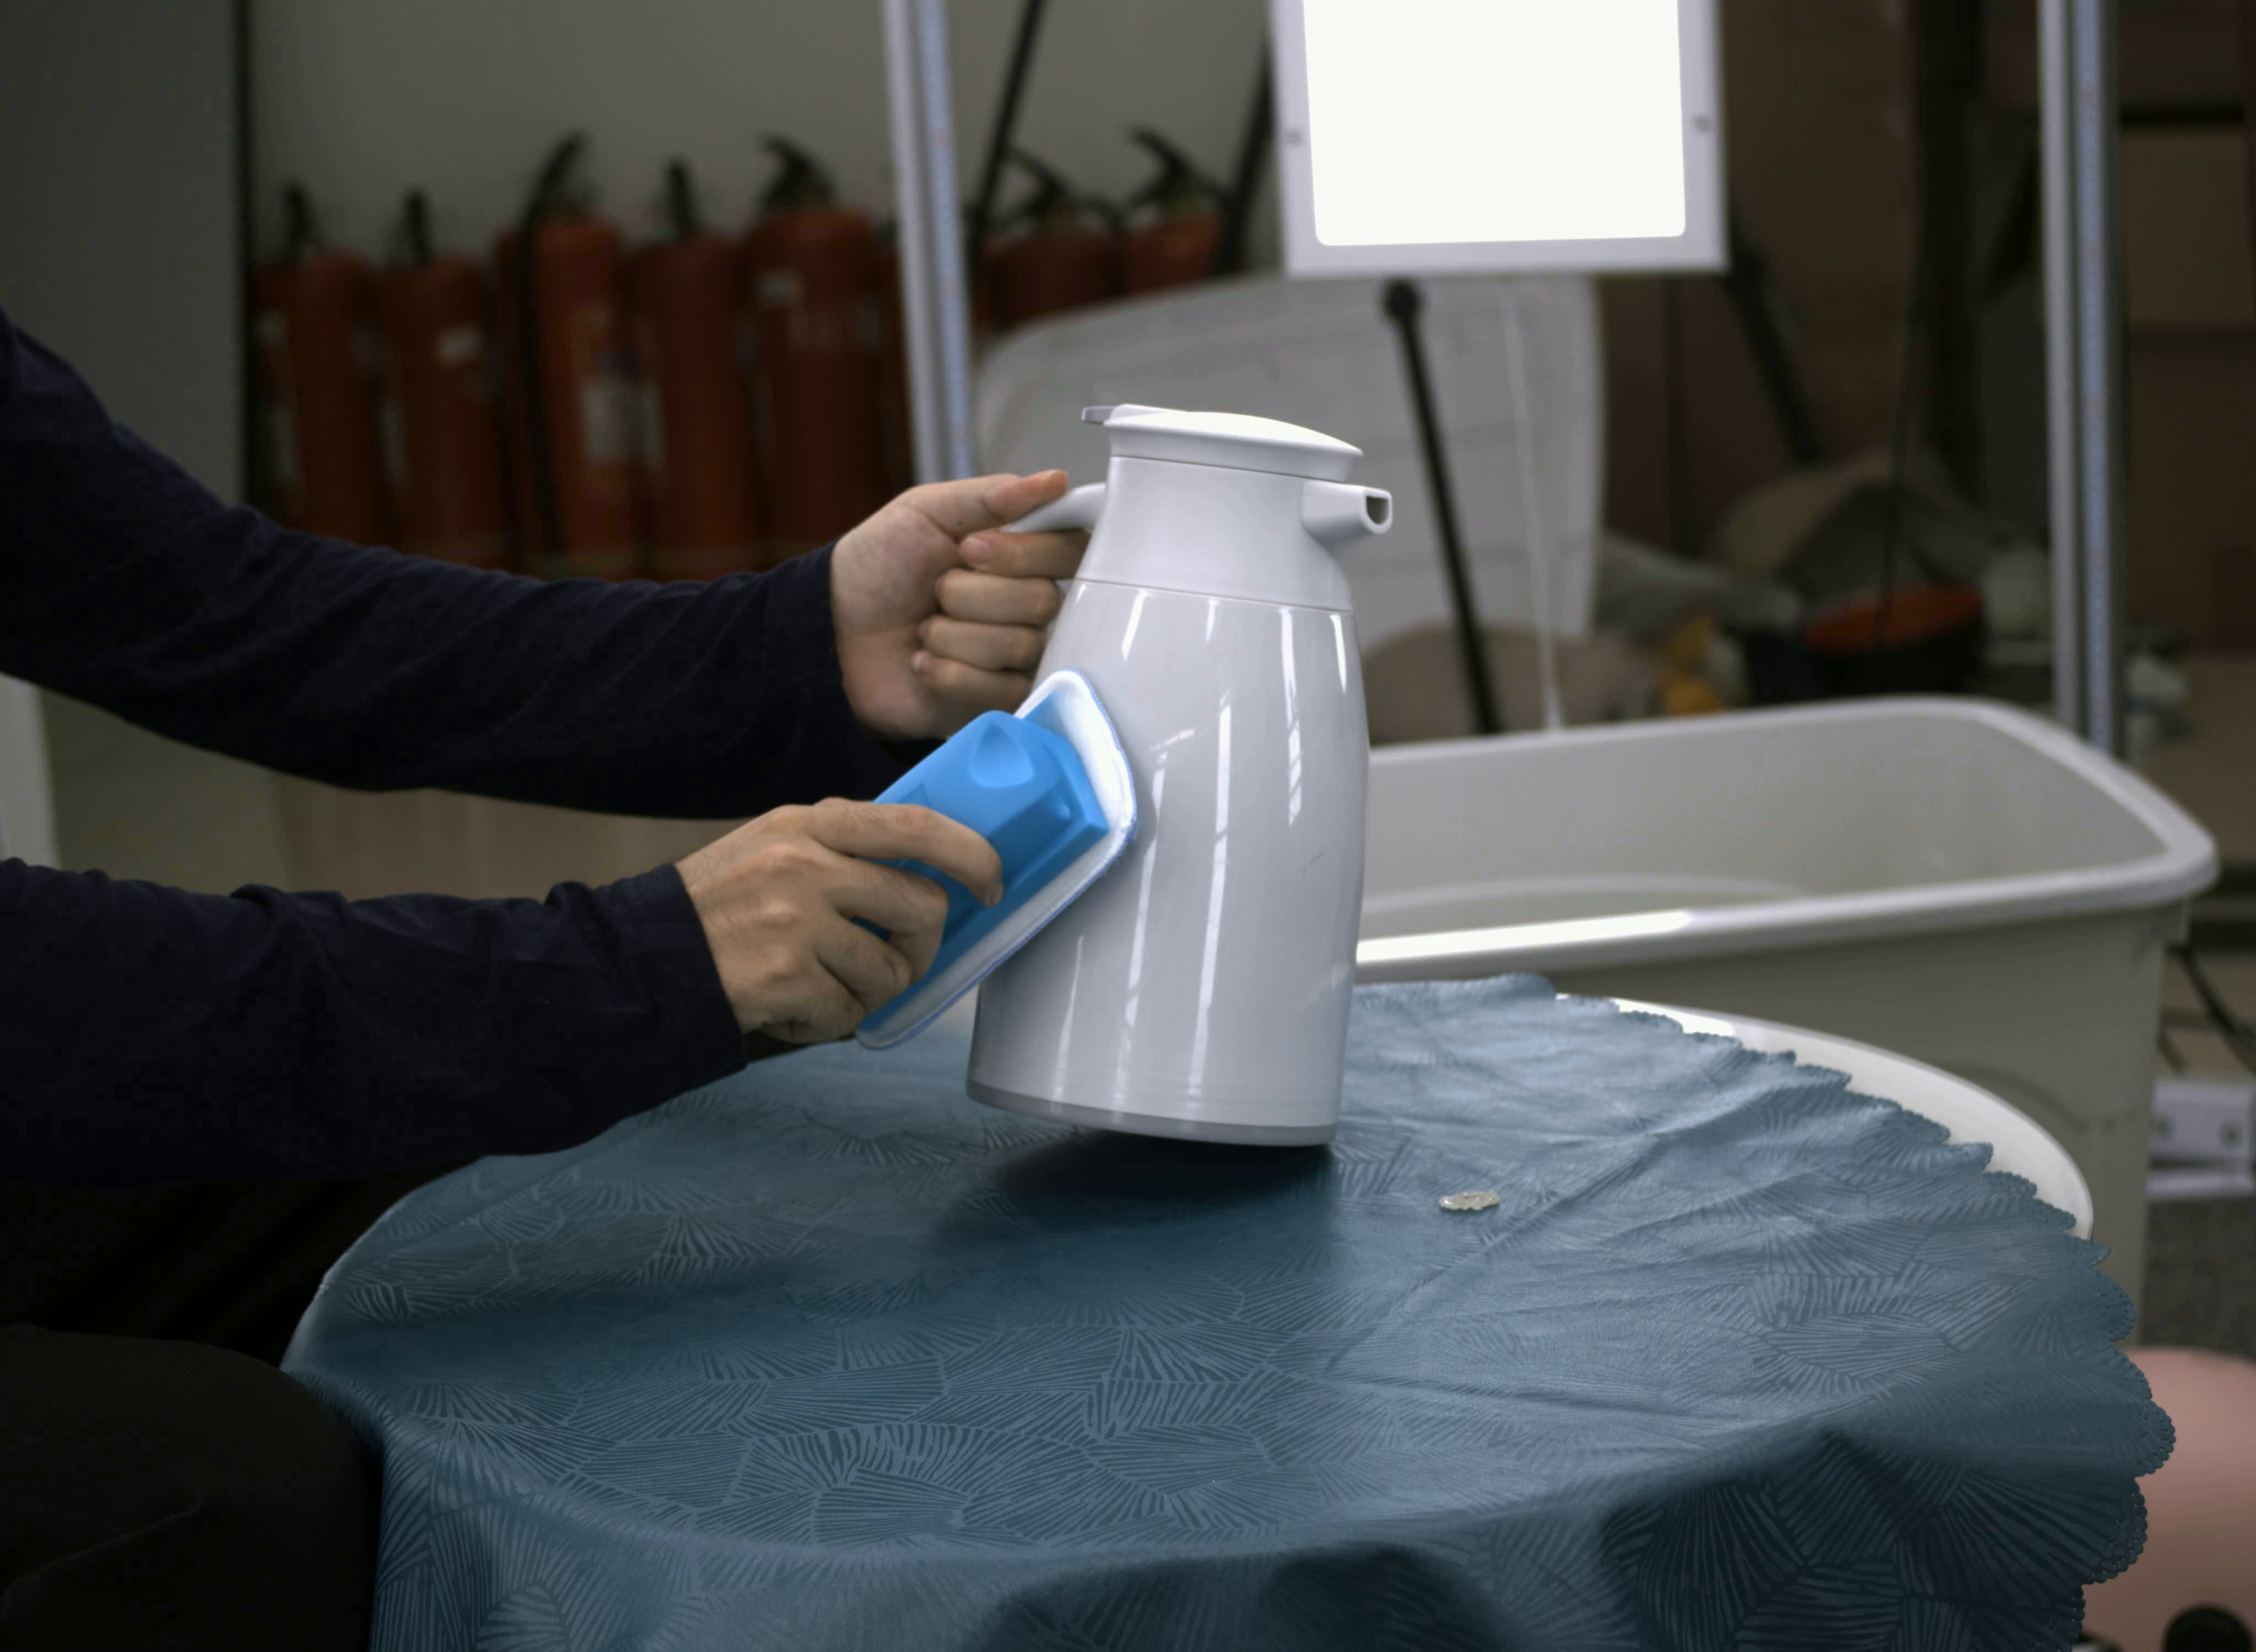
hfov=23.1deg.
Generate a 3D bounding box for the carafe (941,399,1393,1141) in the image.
[{"bbox_3d":[0.006,-0.024,1.928,0.171,0.249,0.129,7,3,32],"label":"carafe"}]

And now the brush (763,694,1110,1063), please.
[{"bbox_3d":[-0.072,0.012,1.874,0.146,0.084,0.055,-37,-42,25],"label":"brush"}]
